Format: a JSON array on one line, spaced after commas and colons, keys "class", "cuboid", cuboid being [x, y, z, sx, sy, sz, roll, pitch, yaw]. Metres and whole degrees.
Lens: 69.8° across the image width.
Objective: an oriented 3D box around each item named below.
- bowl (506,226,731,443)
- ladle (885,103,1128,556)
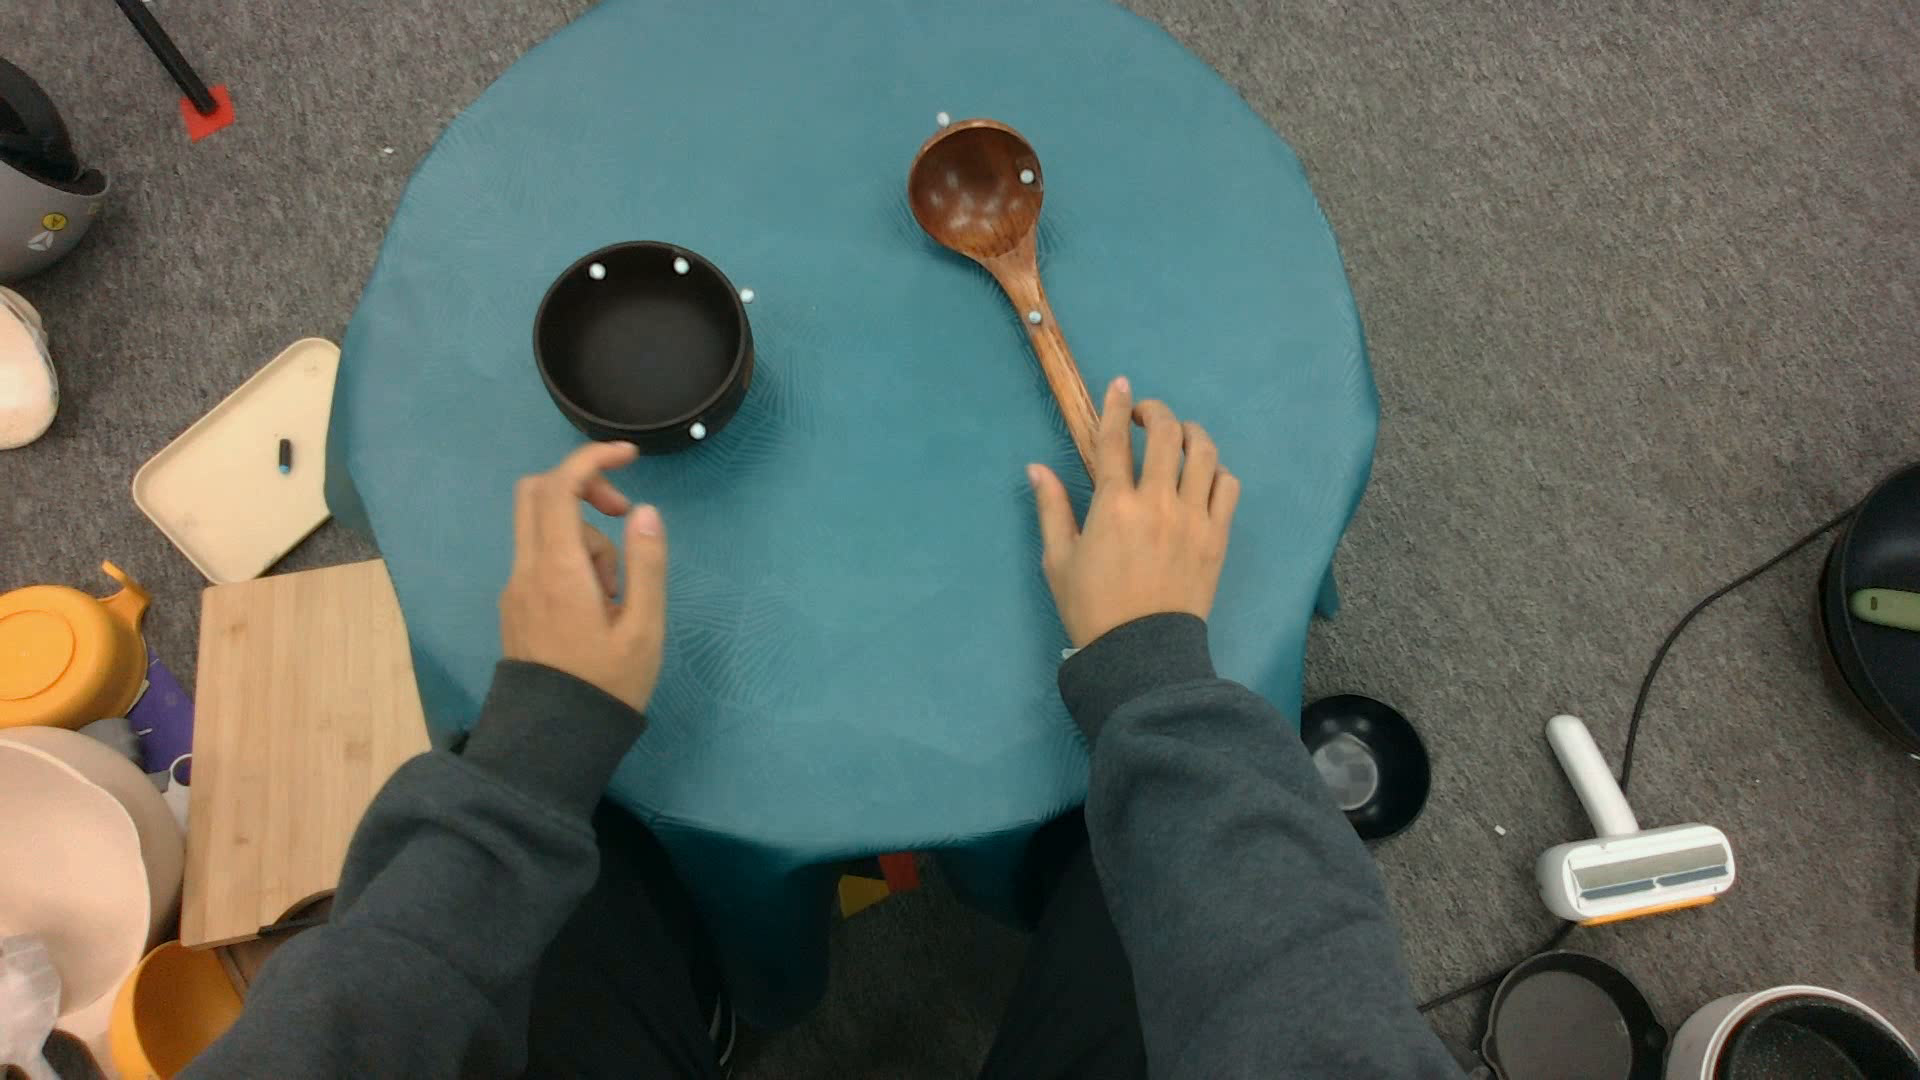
[{"class": "bowl", "cuboid": [-0.186, -0.108, 0.768, 0.118, 0.069, 0.118, 1, 71, -3]}, {"class": "ladle", "cuboid": [0.034, -0.124, 0.786, 0.082, 0.076, 0.274, -25, 73, 15]}]
